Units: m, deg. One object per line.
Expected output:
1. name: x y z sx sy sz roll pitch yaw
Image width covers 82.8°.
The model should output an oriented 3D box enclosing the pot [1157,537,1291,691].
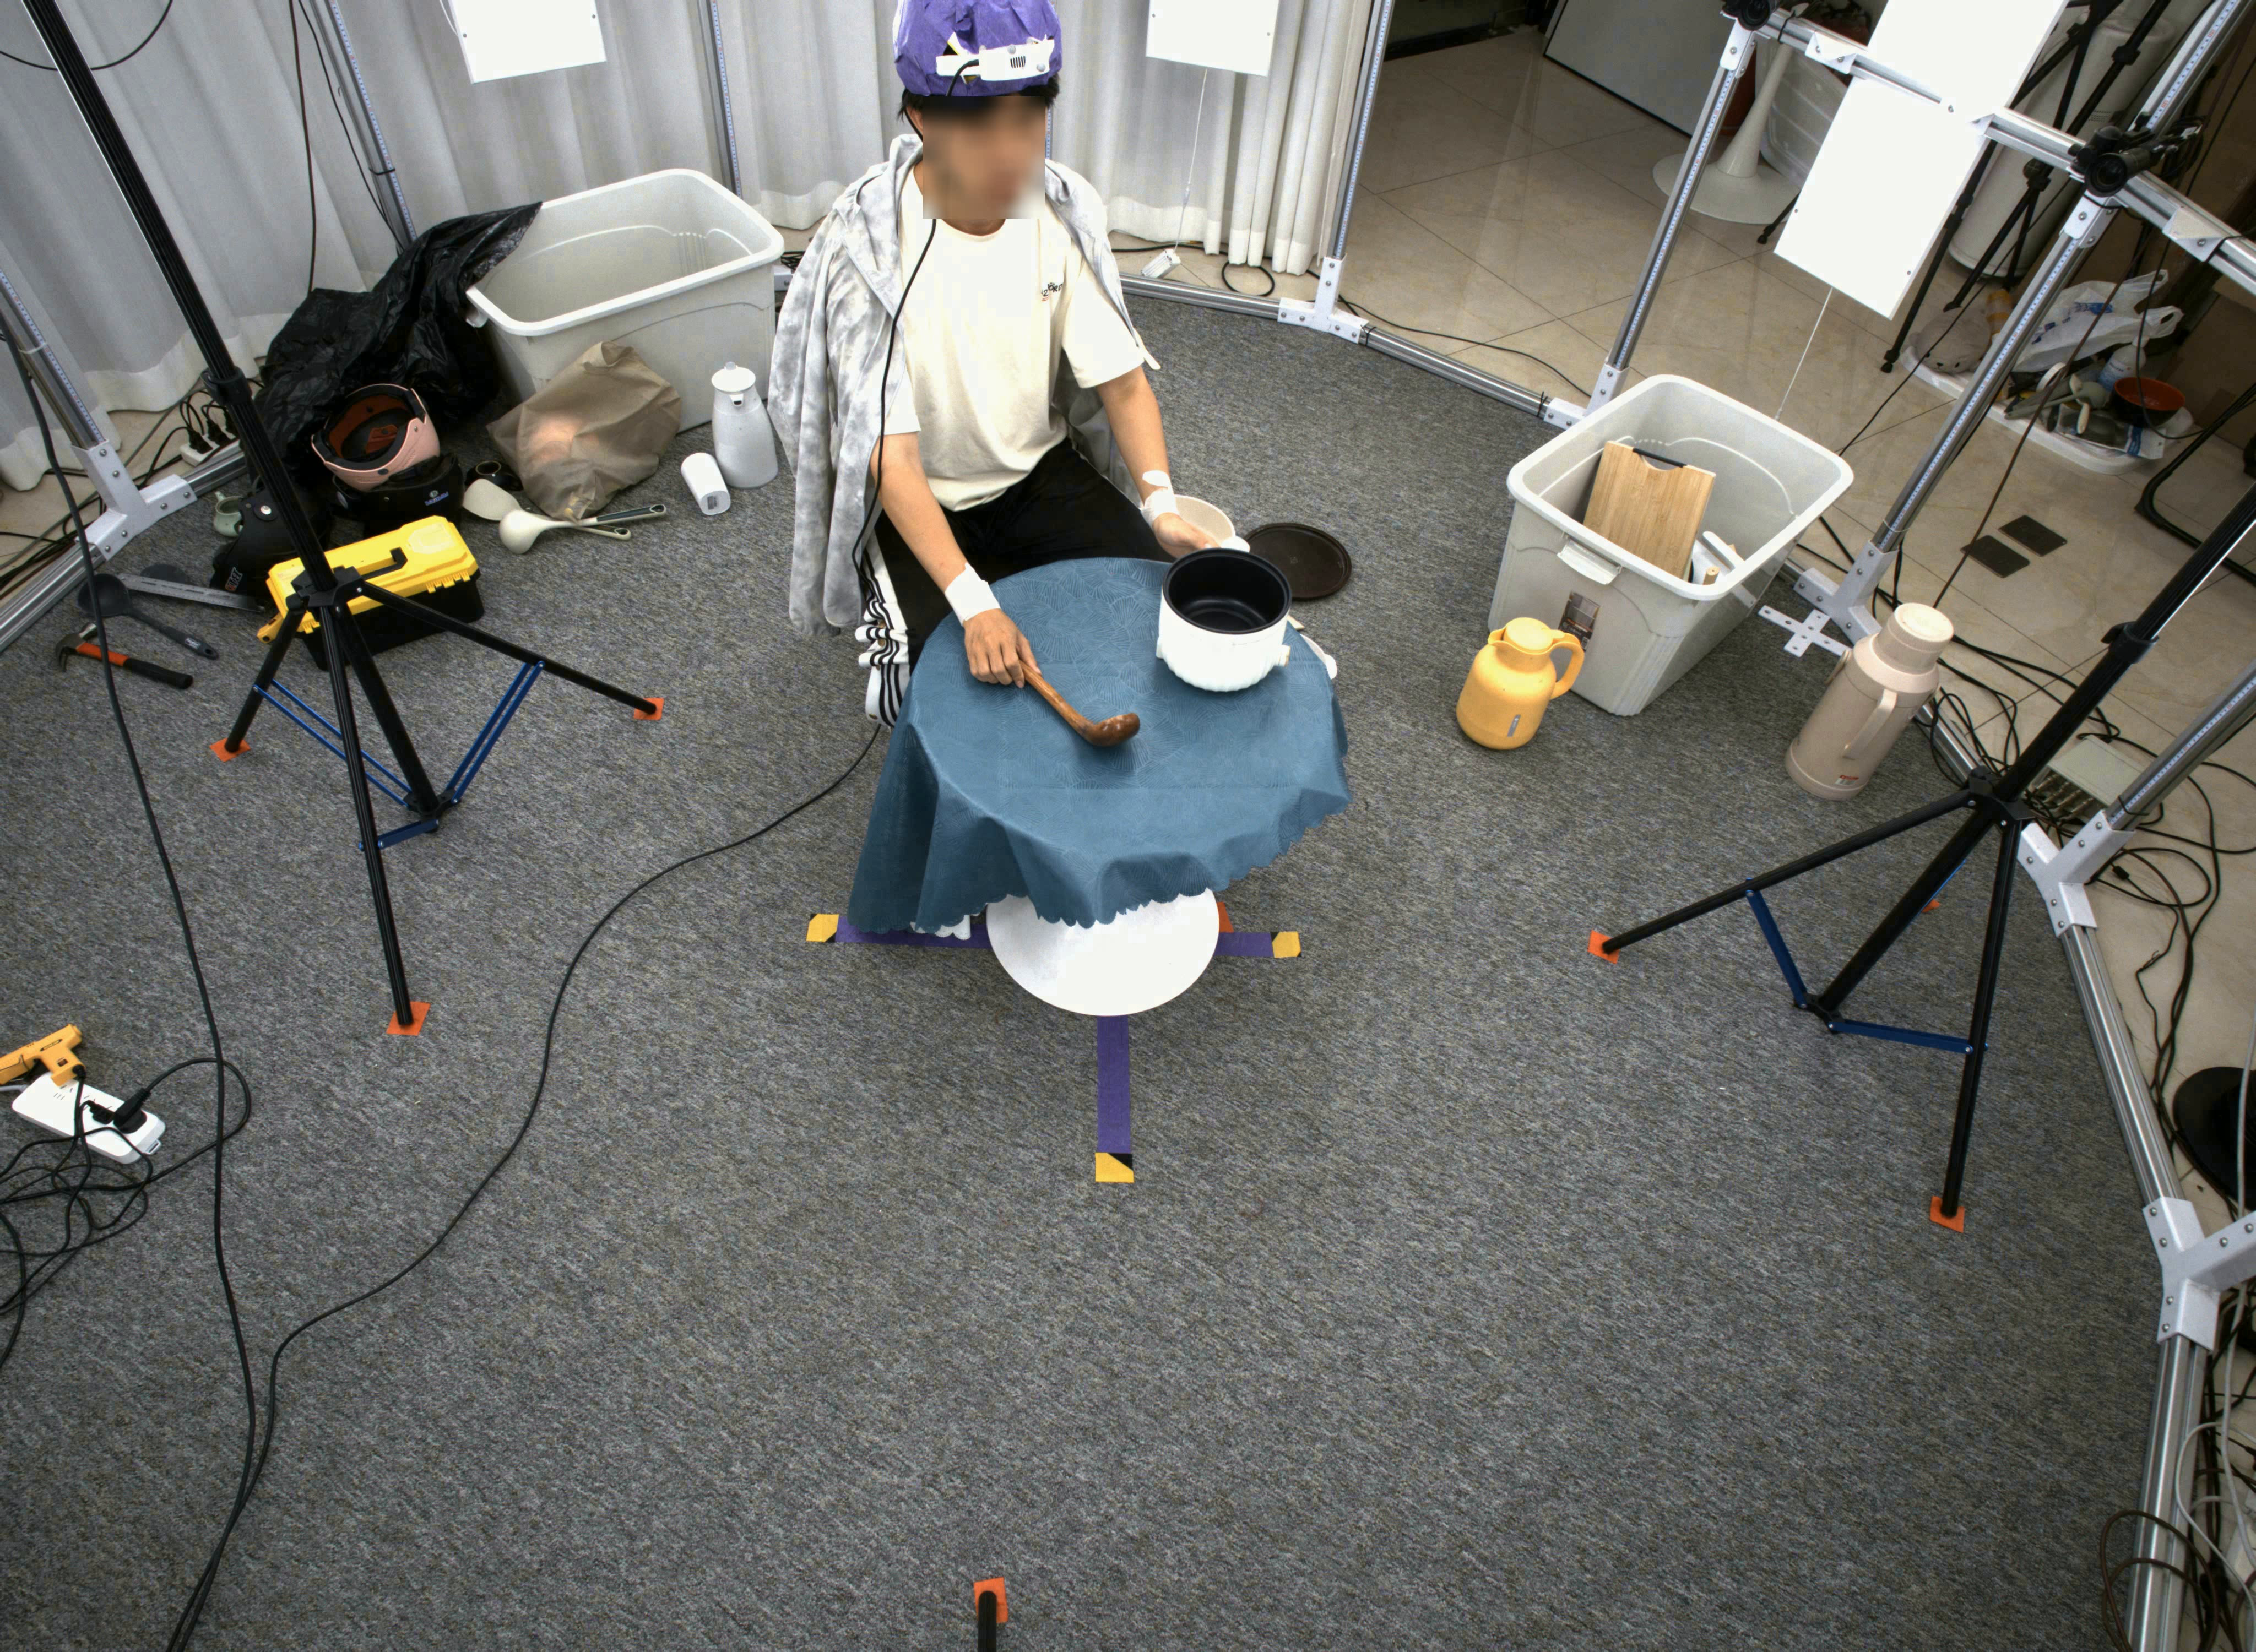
1. pot: 0.139 -0.288 1.831 0.191 0.139 0.246 7 50 7

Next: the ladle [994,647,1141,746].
1. ladle: -0.089 -0.197 1.777 0.081 0.075 0.279 -2 39 -50
